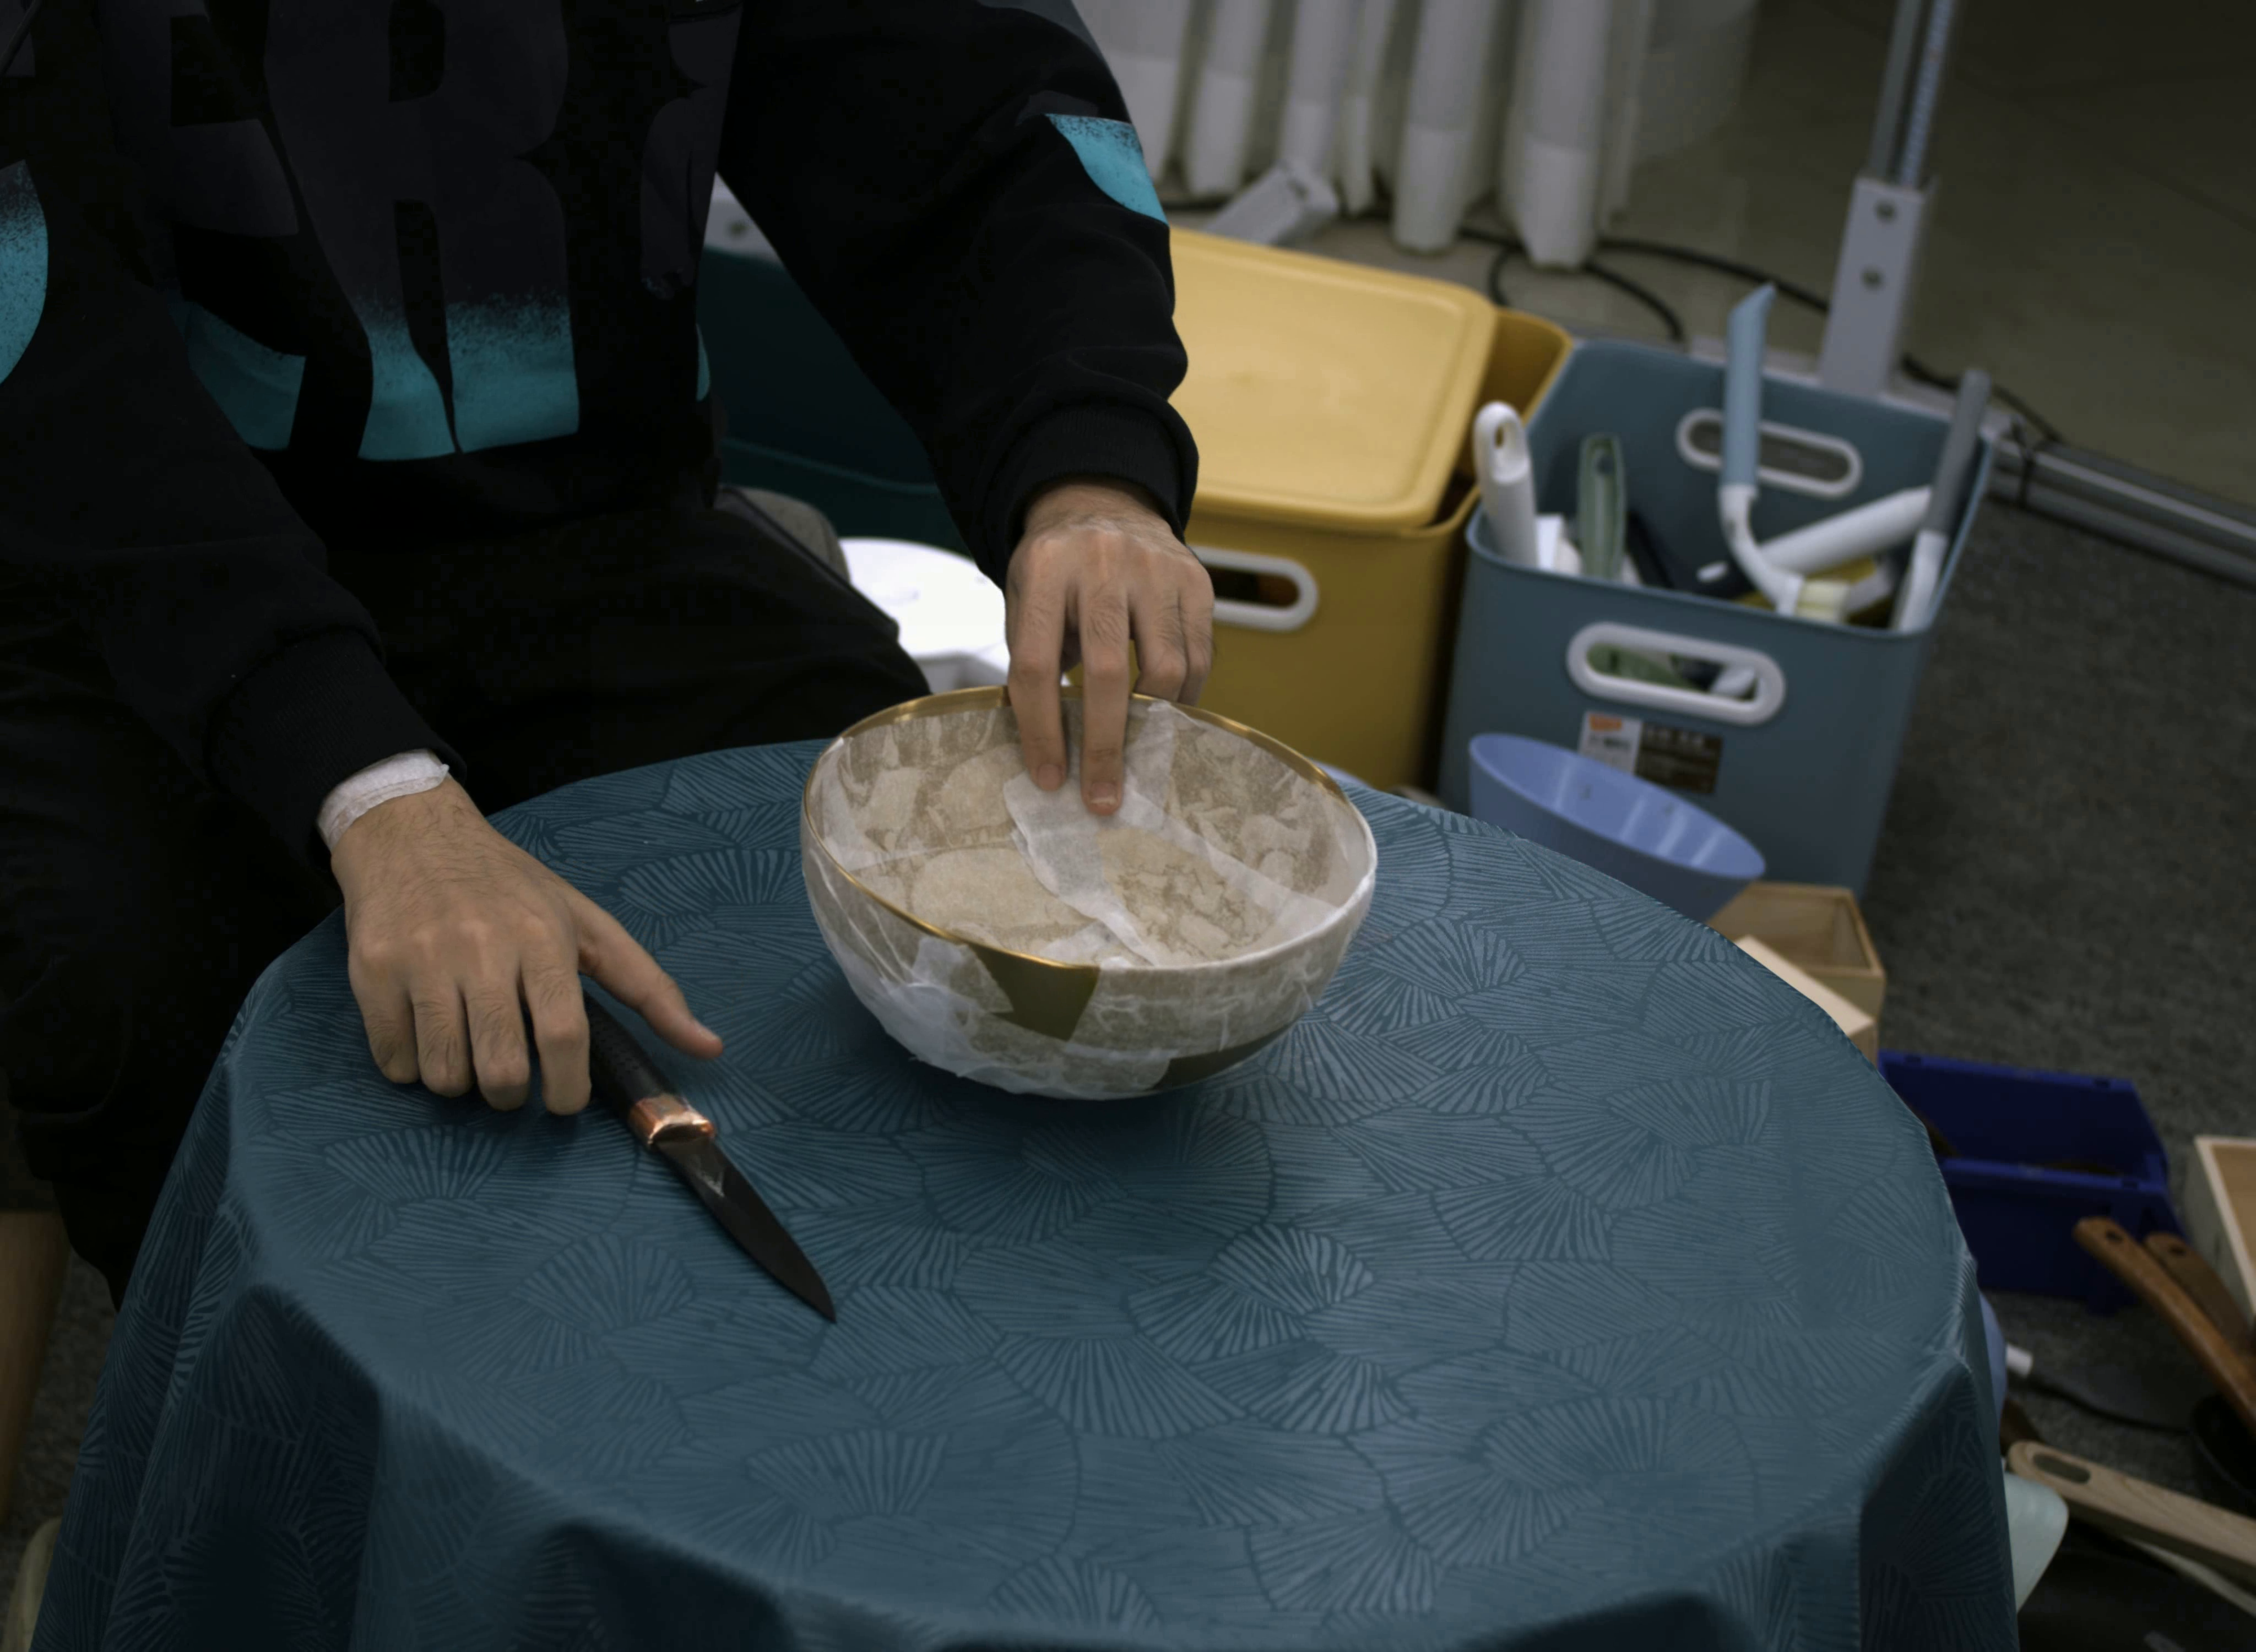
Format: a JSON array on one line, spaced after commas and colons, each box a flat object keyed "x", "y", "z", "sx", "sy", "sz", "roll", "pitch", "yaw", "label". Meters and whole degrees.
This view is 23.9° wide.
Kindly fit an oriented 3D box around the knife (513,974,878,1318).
[{"x": -0.148, "y": 0.107, "z": 1.791, "sx": 0.026, "sy": 0.017, "sz": 0.227, "roll": -3, "pitch": 29, "yaw": -36, "label": "knife"}]

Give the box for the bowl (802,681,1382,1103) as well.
[{"x": -0.018, "y": 0.034, "z": 1.868, "sx": 0.214, "sy": 0.094, "sz": 0.216, "roll": 4, "pitch": 29, "yaw": -3, "label": "bowl"}]
